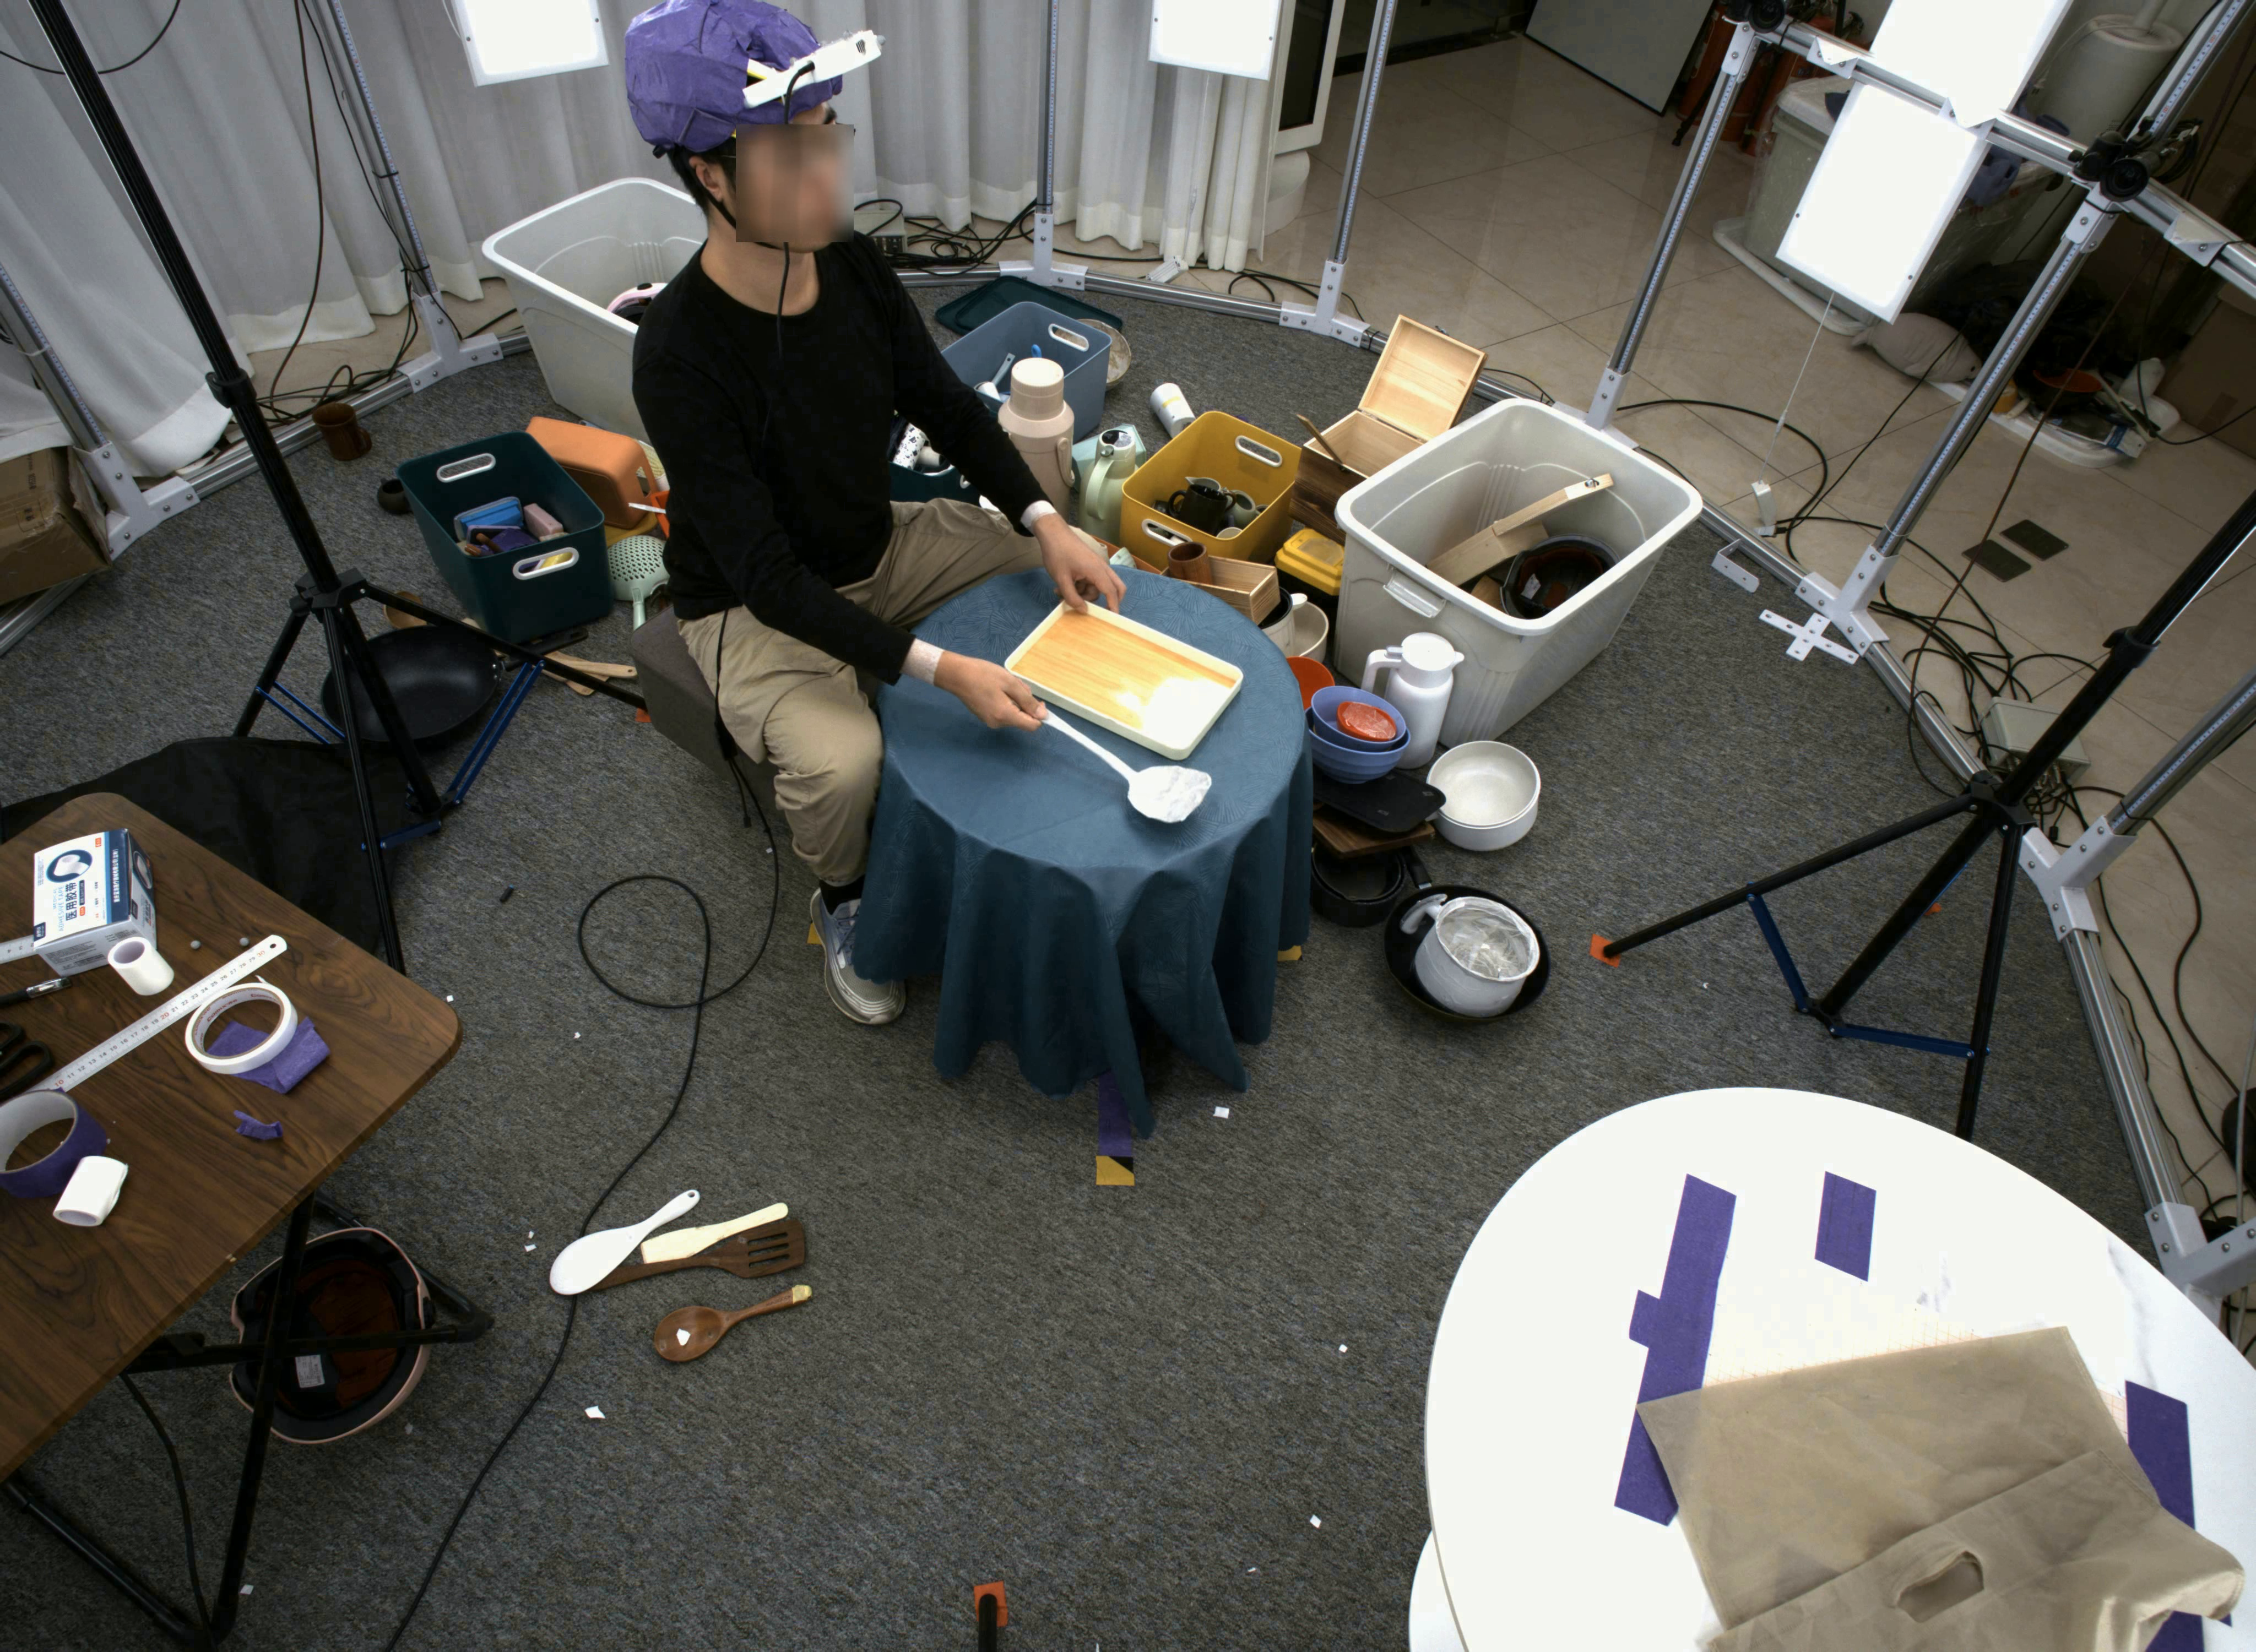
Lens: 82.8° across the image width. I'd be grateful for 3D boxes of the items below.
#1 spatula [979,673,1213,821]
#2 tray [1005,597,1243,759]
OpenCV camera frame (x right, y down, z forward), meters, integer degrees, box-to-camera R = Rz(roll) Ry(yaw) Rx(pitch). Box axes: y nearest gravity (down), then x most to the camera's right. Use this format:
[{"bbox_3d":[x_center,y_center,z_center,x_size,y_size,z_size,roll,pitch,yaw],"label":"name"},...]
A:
[{"bbox_3d":[-0.058,-0.118,1.697,0.367,0.044,0.100,33,59,13],"label":"spatula"},{"bbox_3d":[-0.006,-0.217,1.839,0.303,0.027,0.194,26,53,18],"label":"tray"}]
